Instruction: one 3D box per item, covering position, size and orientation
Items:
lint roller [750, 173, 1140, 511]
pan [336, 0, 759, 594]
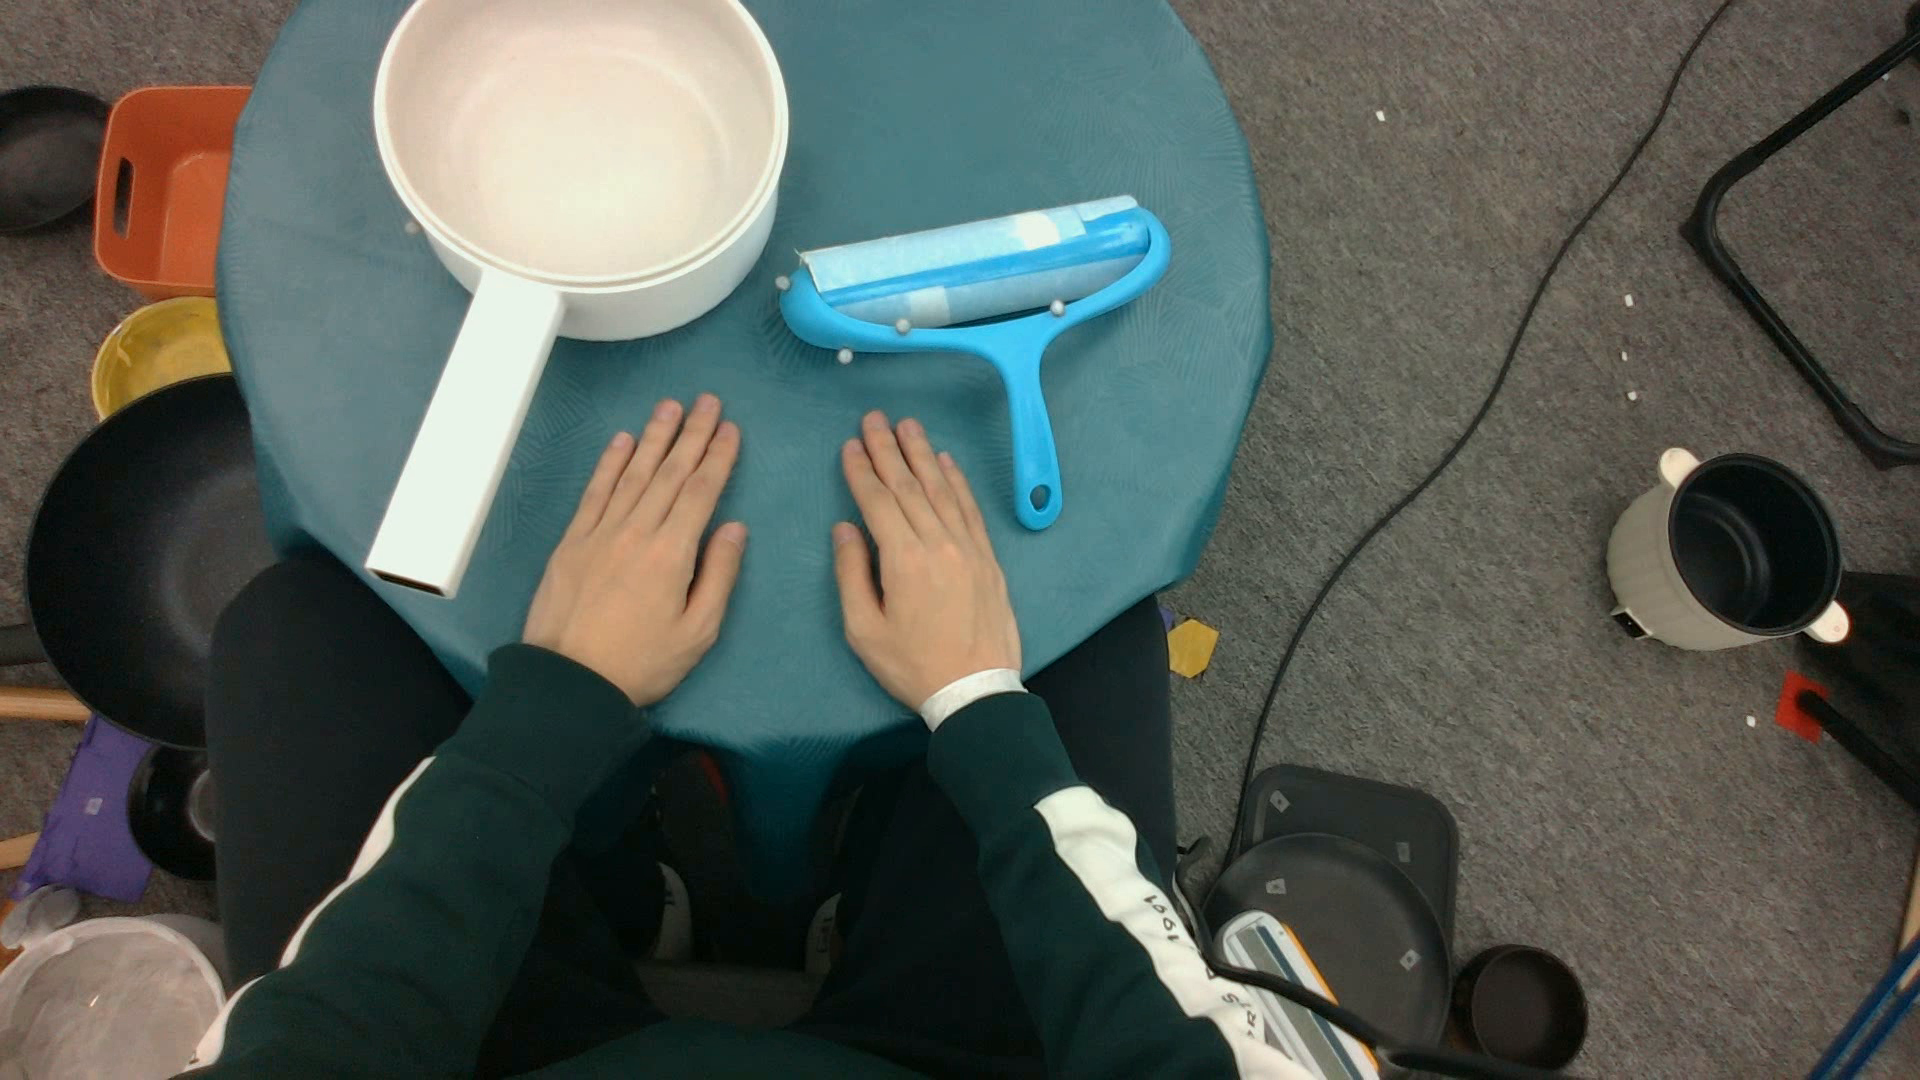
[{"bbox_3d":[0.013,-0.109,0.773,0.229,0.067,0.180,-17,78,-15],"label":"lint roller"},{"bbox_3d":[-0.229,-0.138,0.715,0.201,0.102,0.355,16,74,-6],"label":"pan"}]
